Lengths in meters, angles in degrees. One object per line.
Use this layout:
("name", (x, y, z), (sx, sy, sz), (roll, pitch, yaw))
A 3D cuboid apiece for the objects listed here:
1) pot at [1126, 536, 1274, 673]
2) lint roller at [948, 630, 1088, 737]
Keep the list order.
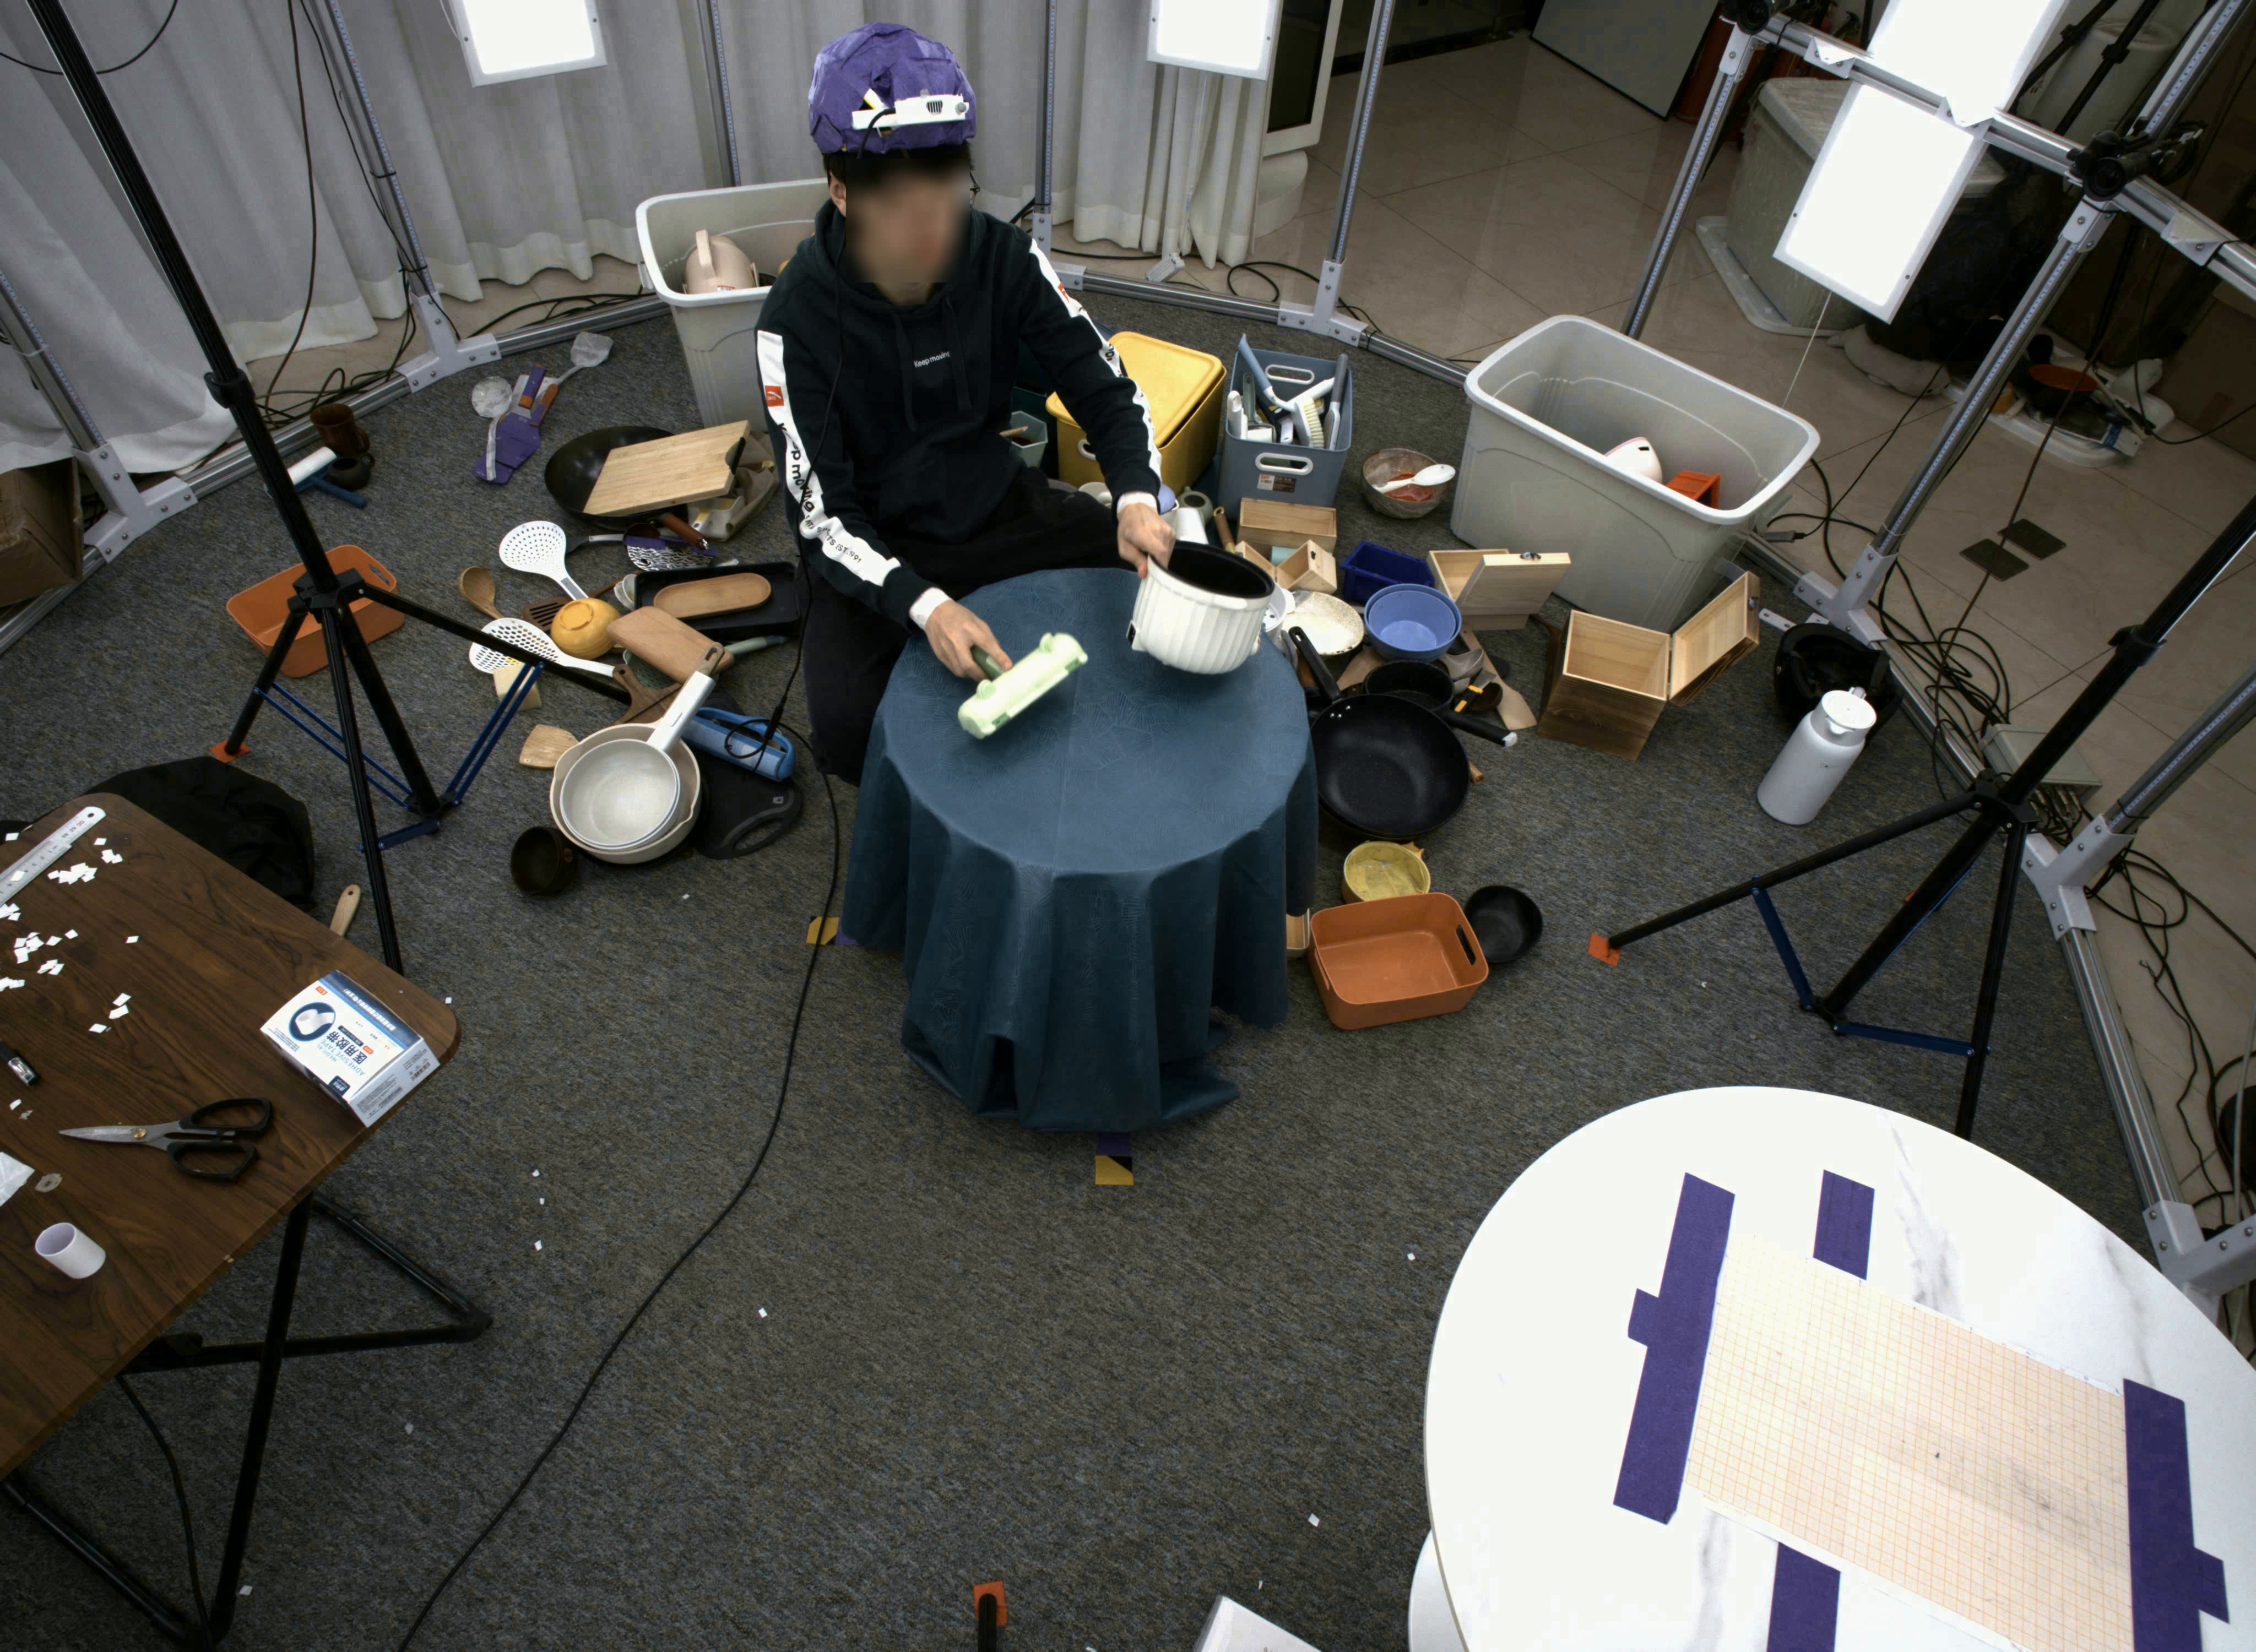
("pot", (0.103, -0.305, 1.813), (0.190, 0.140, 0.246), (3, 33, -18))
("lint roller", (-0.184, -0.232, 1.764), (0.186, 0.080, 0.200), (39, 64, 22))
